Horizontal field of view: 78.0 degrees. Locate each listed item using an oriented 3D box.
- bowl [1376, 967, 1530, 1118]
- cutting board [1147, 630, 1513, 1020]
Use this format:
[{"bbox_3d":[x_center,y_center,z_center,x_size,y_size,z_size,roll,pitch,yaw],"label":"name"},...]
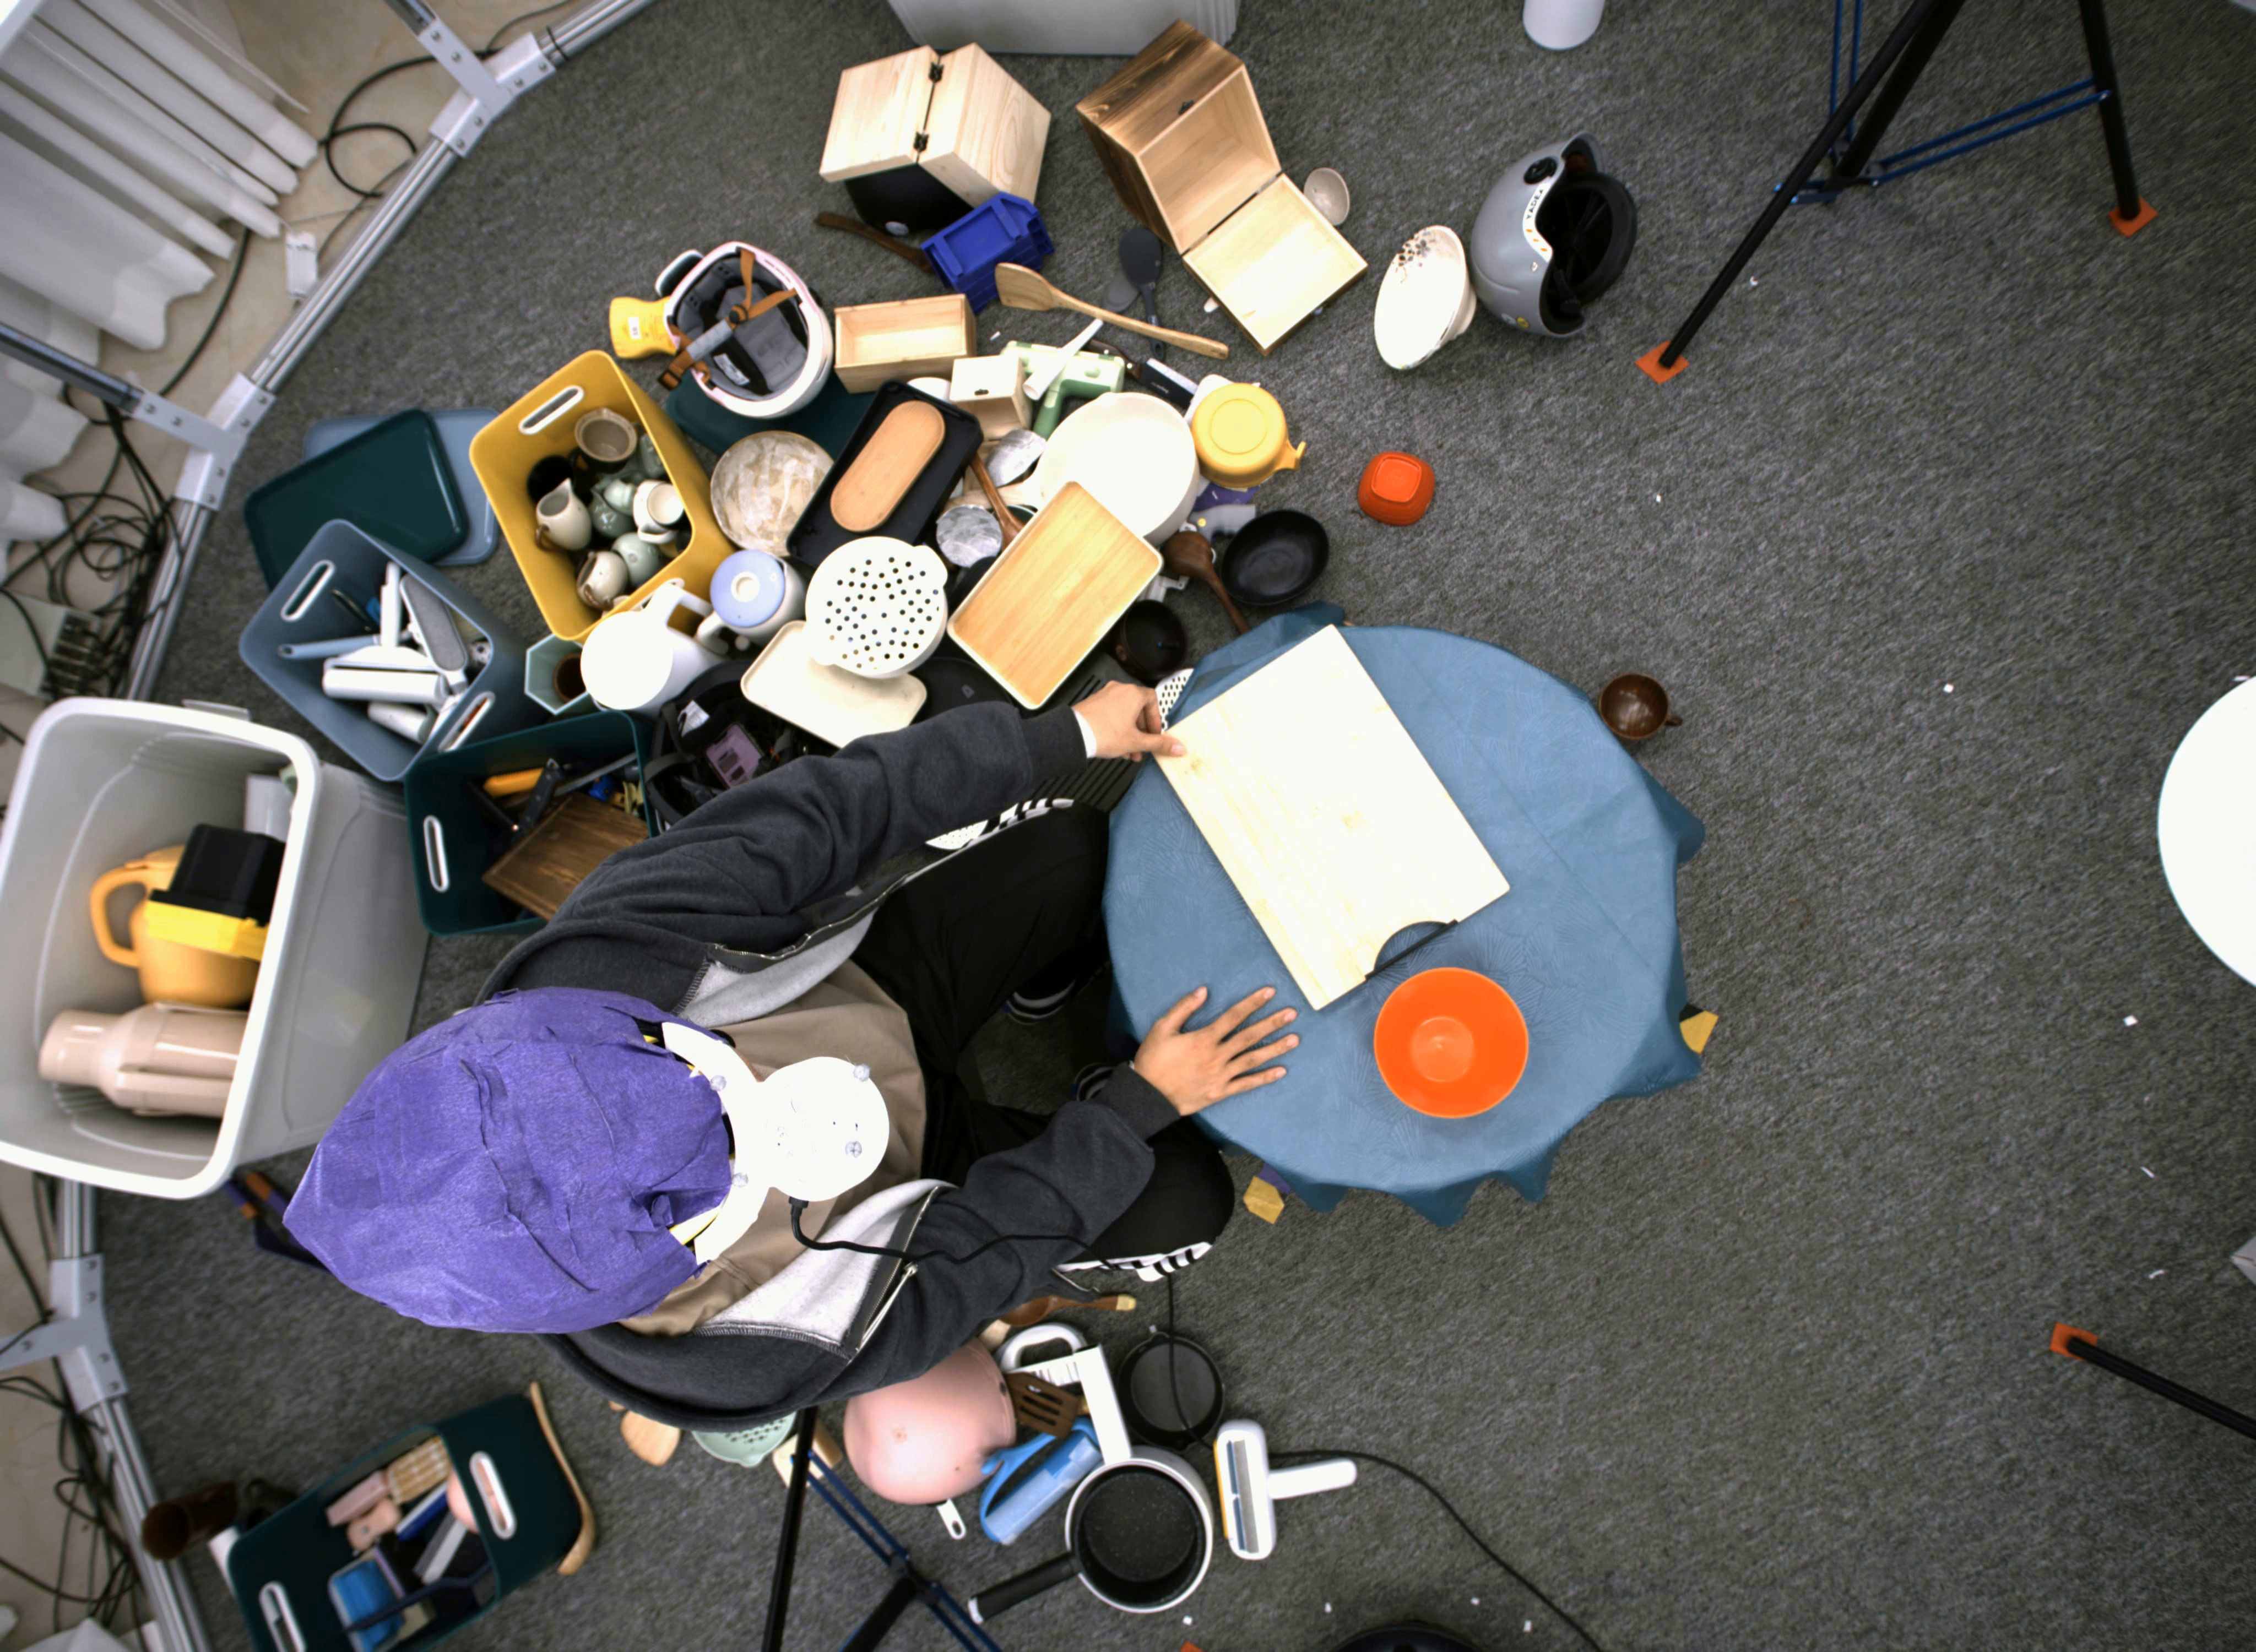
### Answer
[{"bbox_3d":[0.323,0.215,1.390,0.148,0.105,0.147,-1,86,8],"label":"bowl"},{"bbox_3d":[0.211,-0.007,1.466,0.252,0.023,0.346,-34,81,7],"label":"cutting board"}]
